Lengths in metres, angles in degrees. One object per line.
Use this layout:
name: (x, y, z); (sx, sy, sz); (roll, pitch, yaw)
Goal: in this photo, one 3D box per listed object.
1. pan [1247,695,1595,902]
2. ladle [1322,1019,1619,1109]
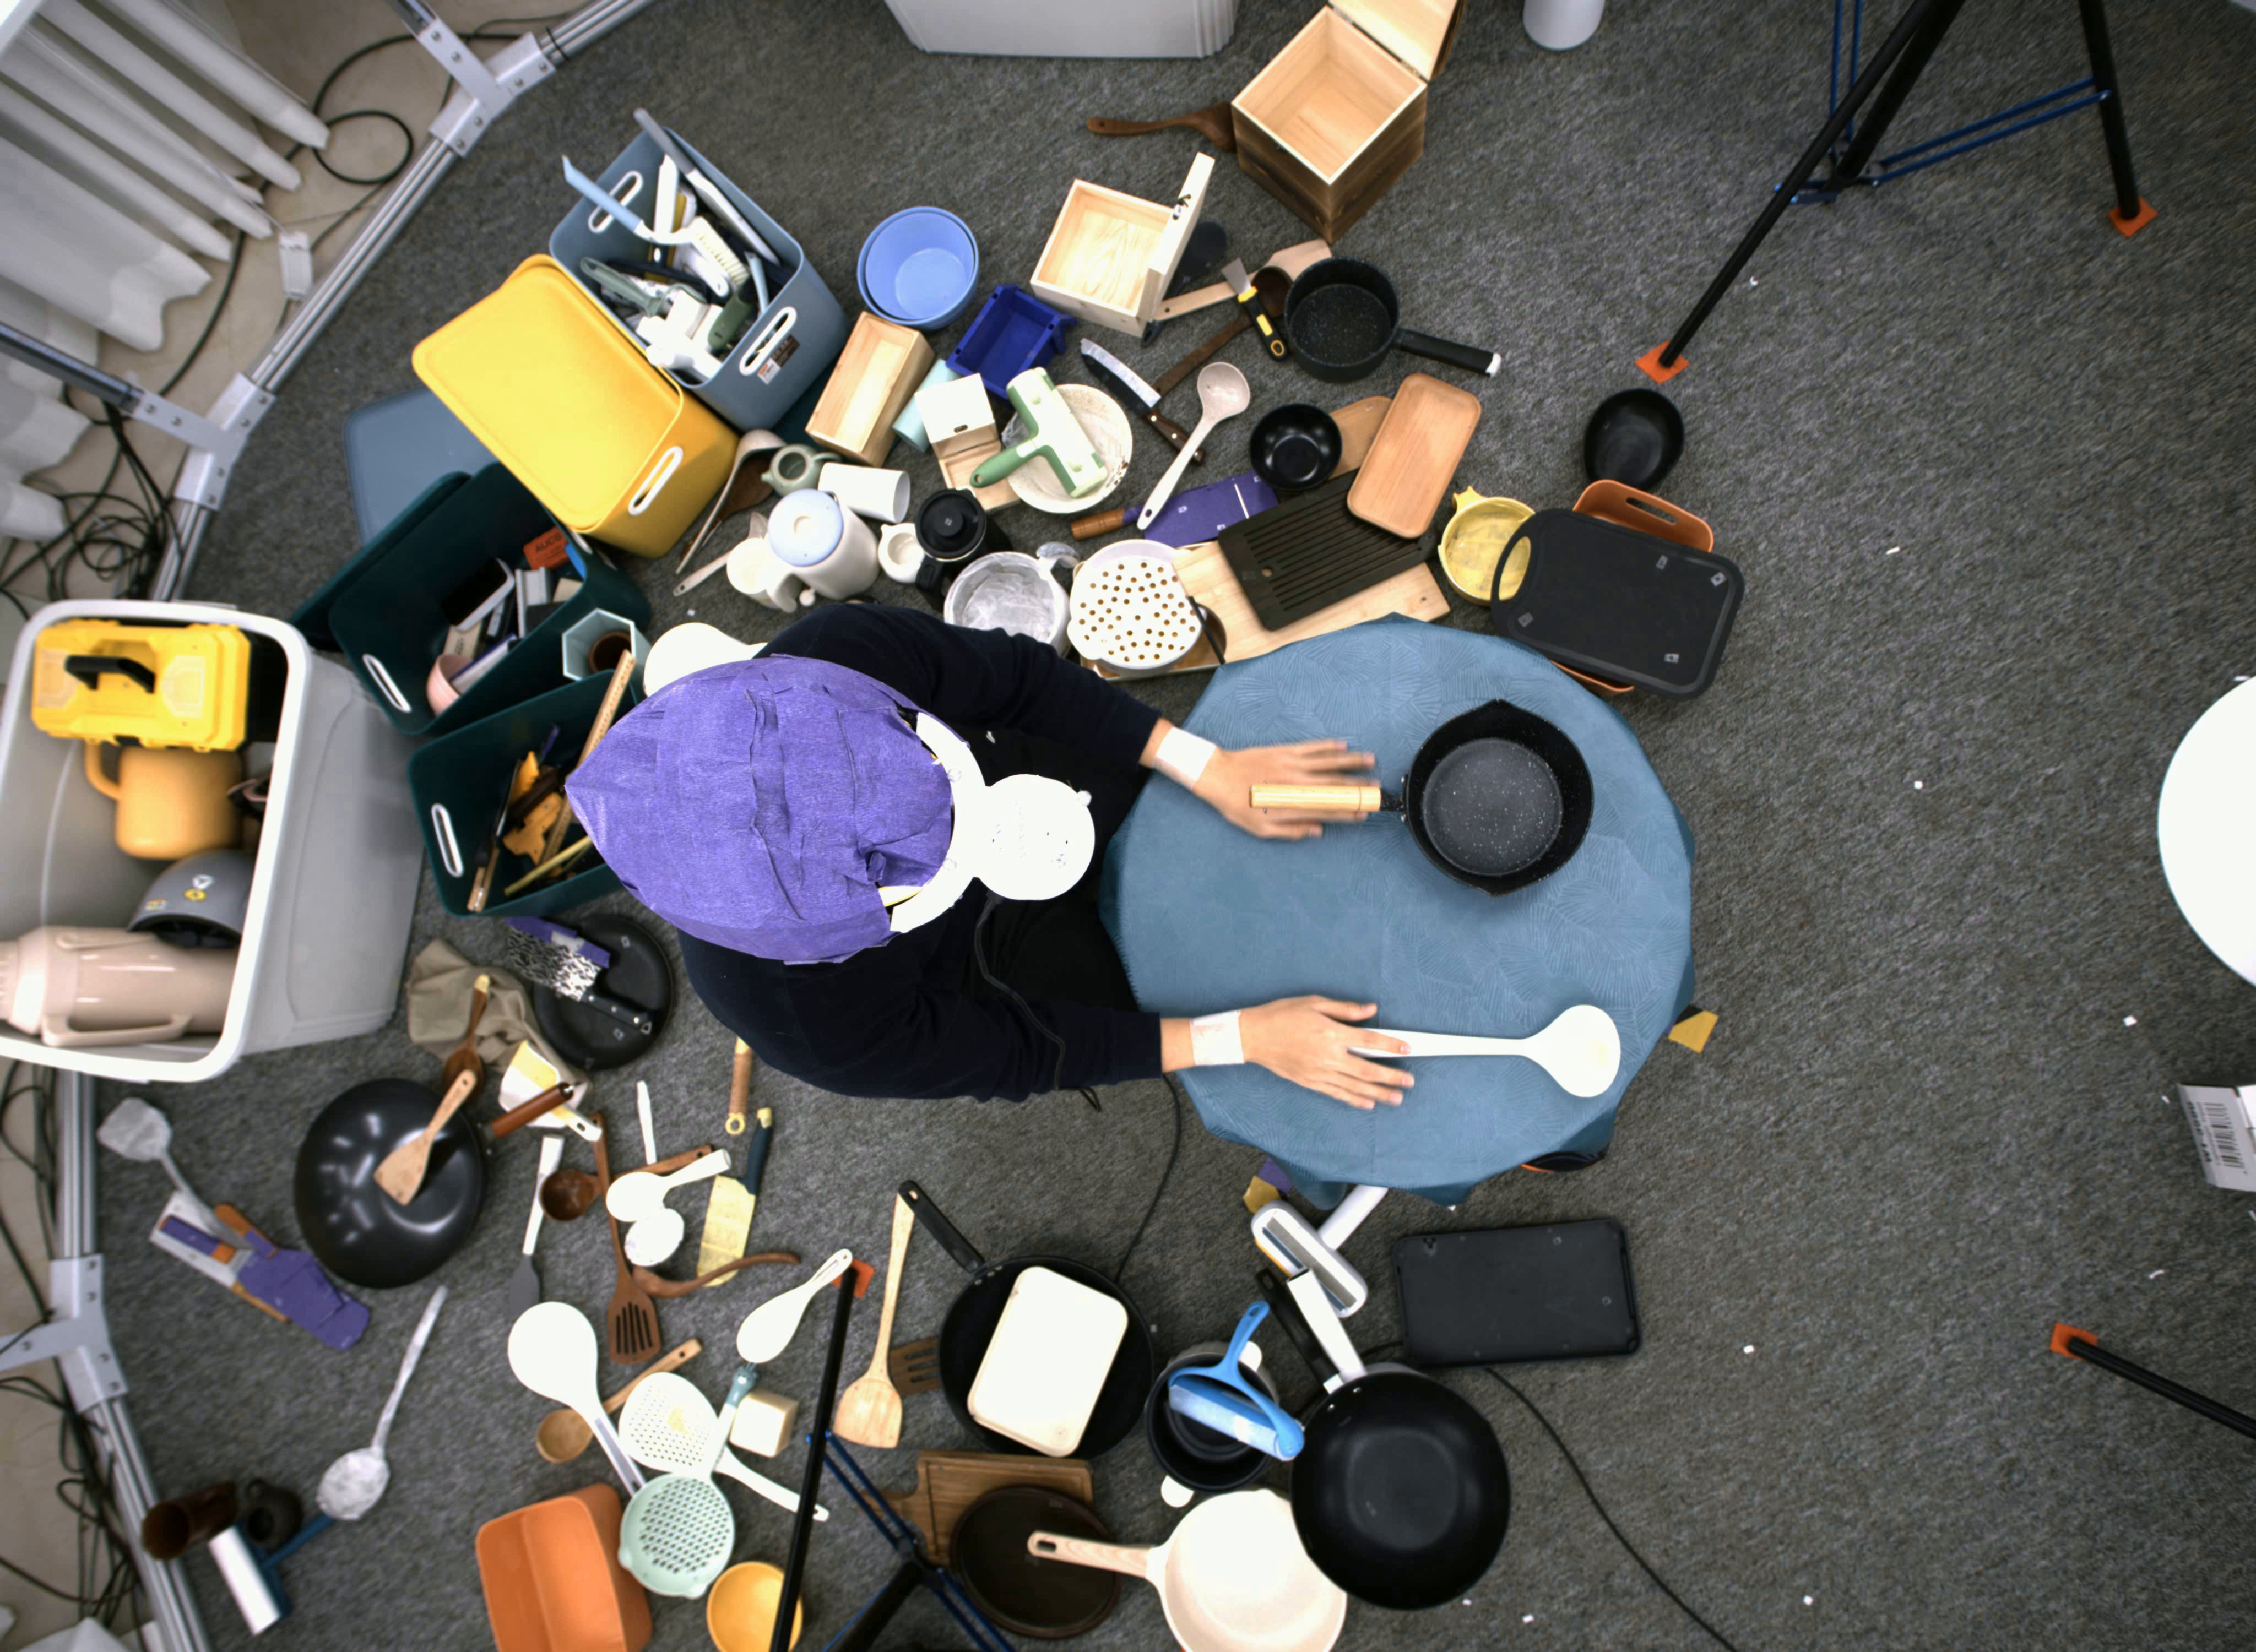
pan: (0.295, -0.026, 1.406); (0.344, 0.108, 0.207); (-1, 87, 9)
ladle: (0.343, 0.230, 1.405); (0.294, 0.069, 0.090); (2, 93, 12)
